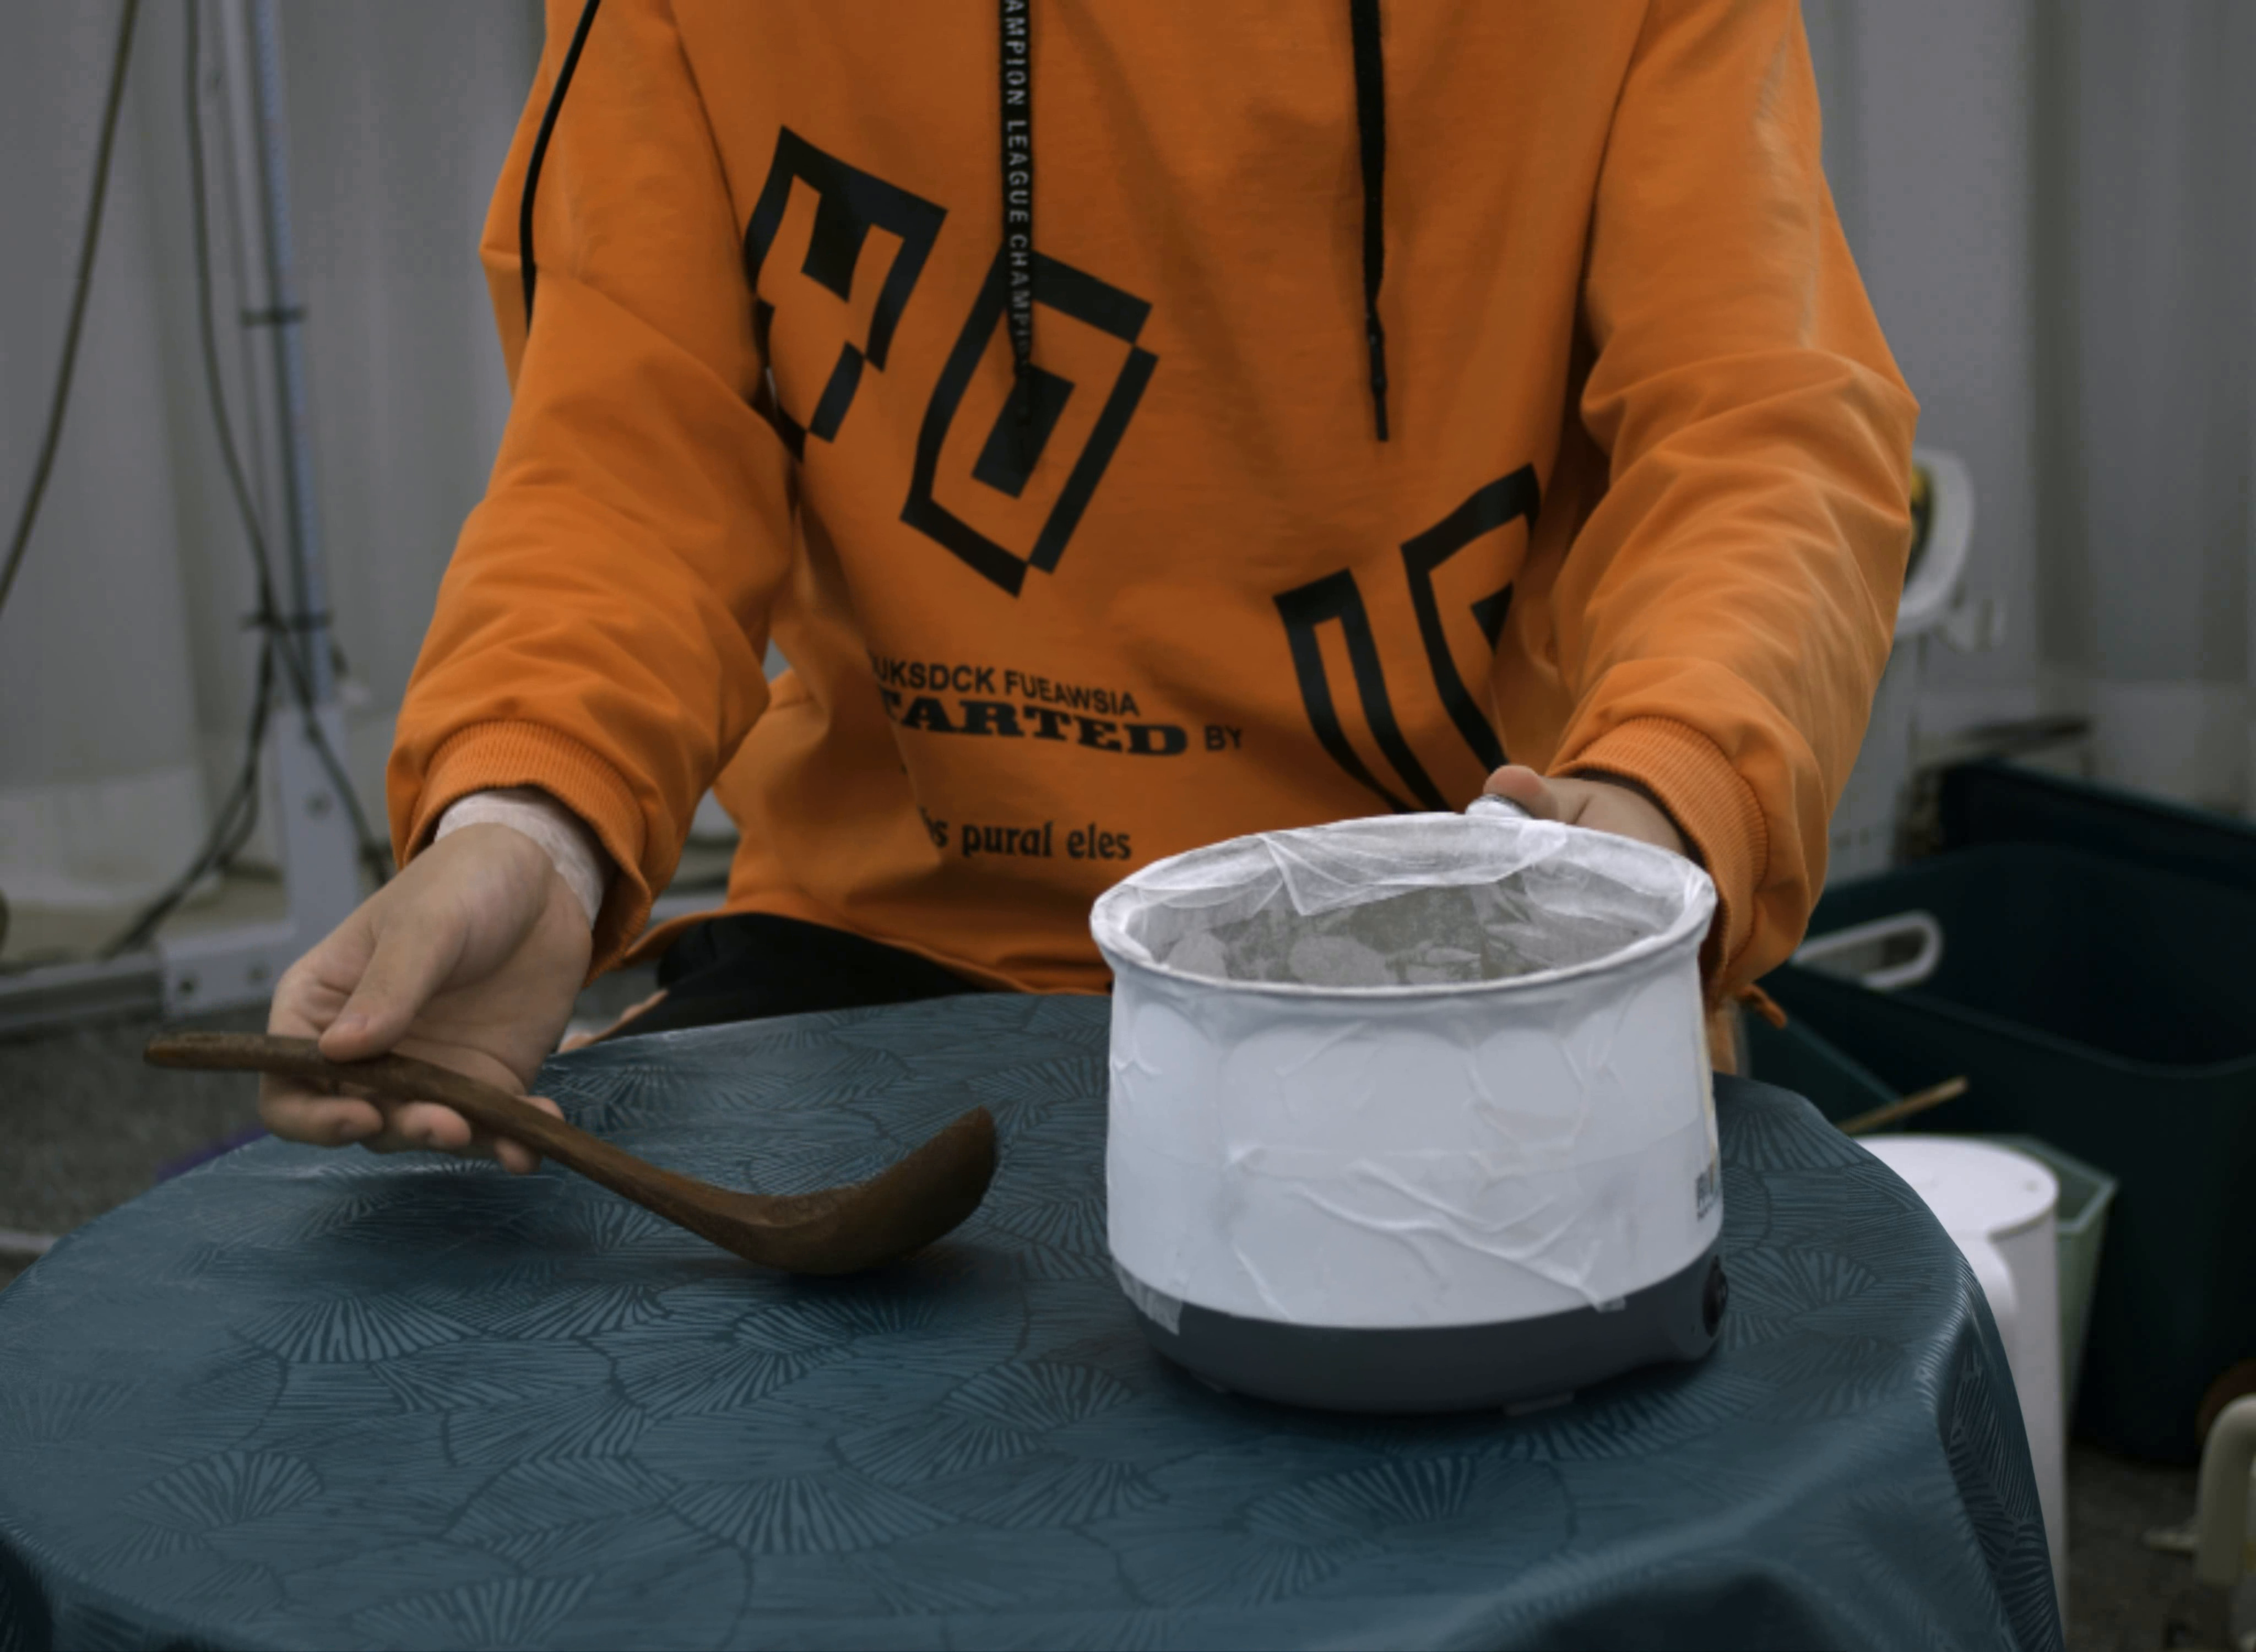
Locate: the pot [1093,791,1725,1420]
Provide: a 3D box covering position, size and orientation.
[{"bbox_3d":[0.089,0.075,1.583,0.178,0.136,0.234,2,16,17],"label":"pot"}]

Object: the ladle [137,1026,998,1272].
[{"bbox_3d":[-0.172,0.077,1.672,0.274,0.071,0.076,18,8,15],"label":"ladle"}]
